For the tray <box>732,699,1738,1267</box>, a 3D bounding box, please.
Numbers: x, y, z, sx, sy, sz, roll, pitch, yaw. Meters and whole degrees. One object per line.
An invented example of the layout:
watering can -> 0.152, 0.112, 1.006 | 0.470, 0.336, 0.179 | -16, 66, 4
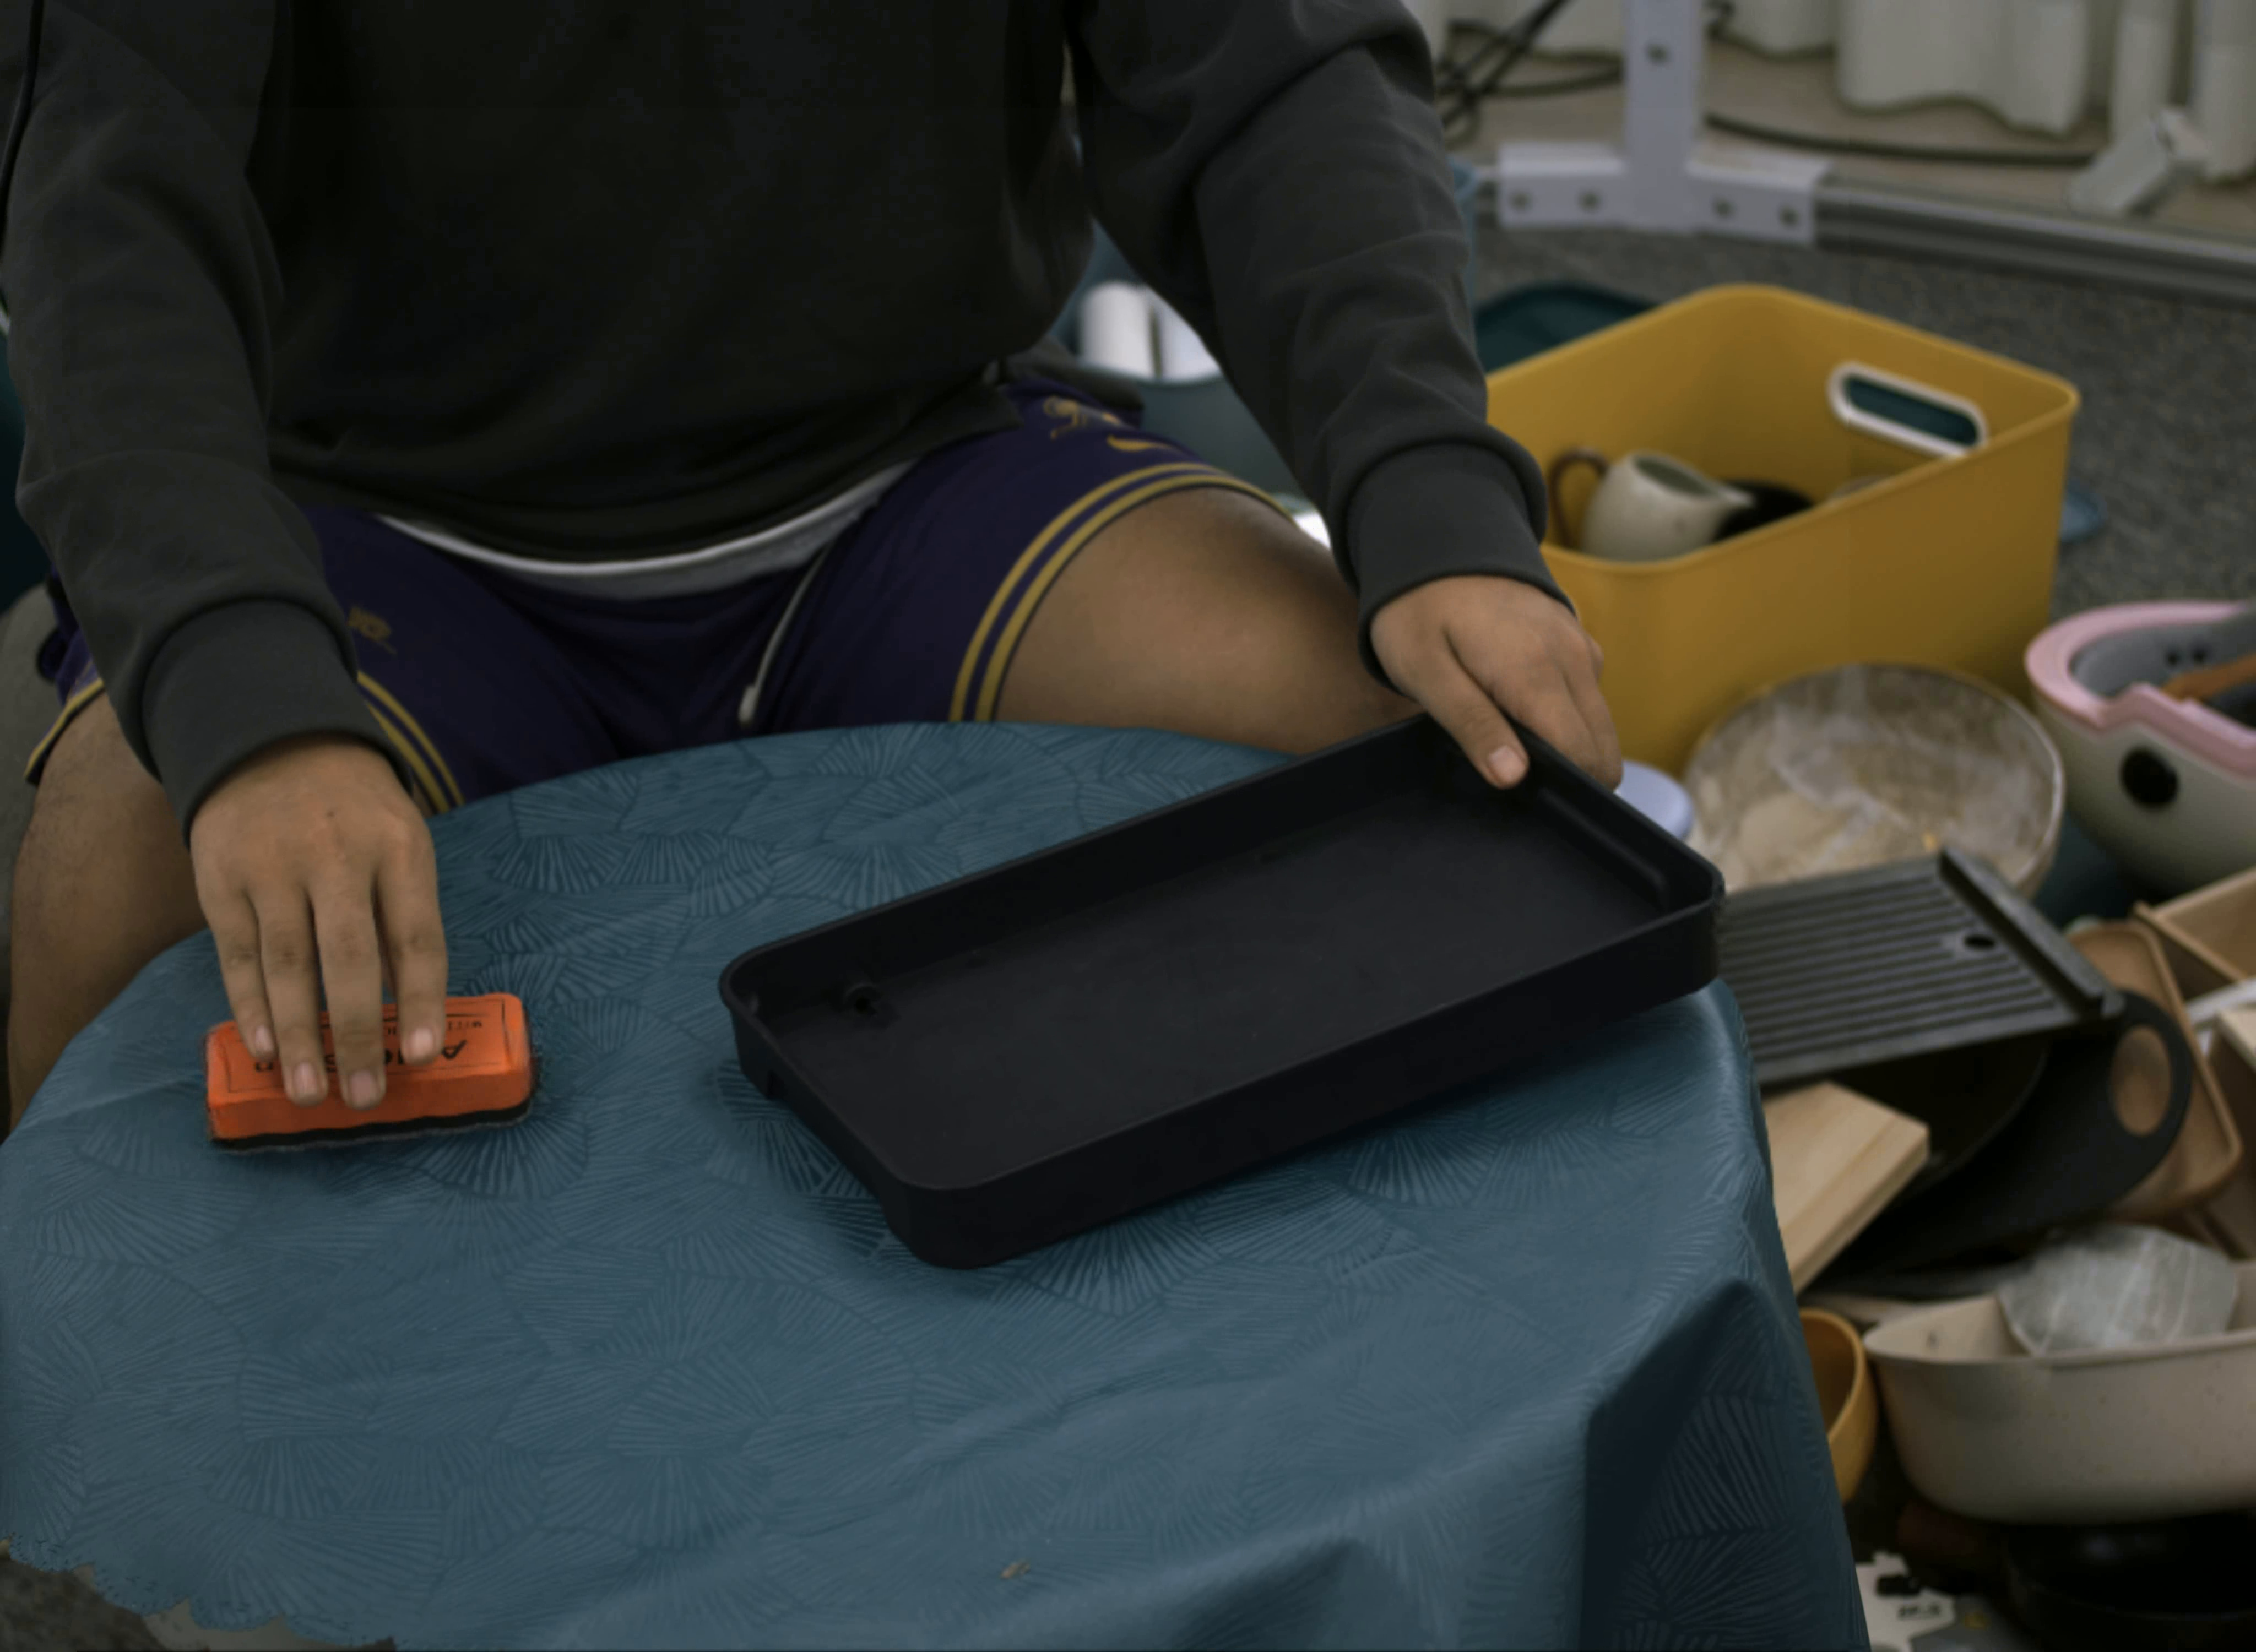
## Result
tray -> 0.038, 0.049, 1.940 | 0.320, 0.036, 0.185 | -20, 31, -23

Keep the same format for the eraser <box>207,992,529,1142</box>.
eraser -> -0.261, 0.083, 1.930 | 0.108, 0.023, 0.059 | -7, 19, -5
